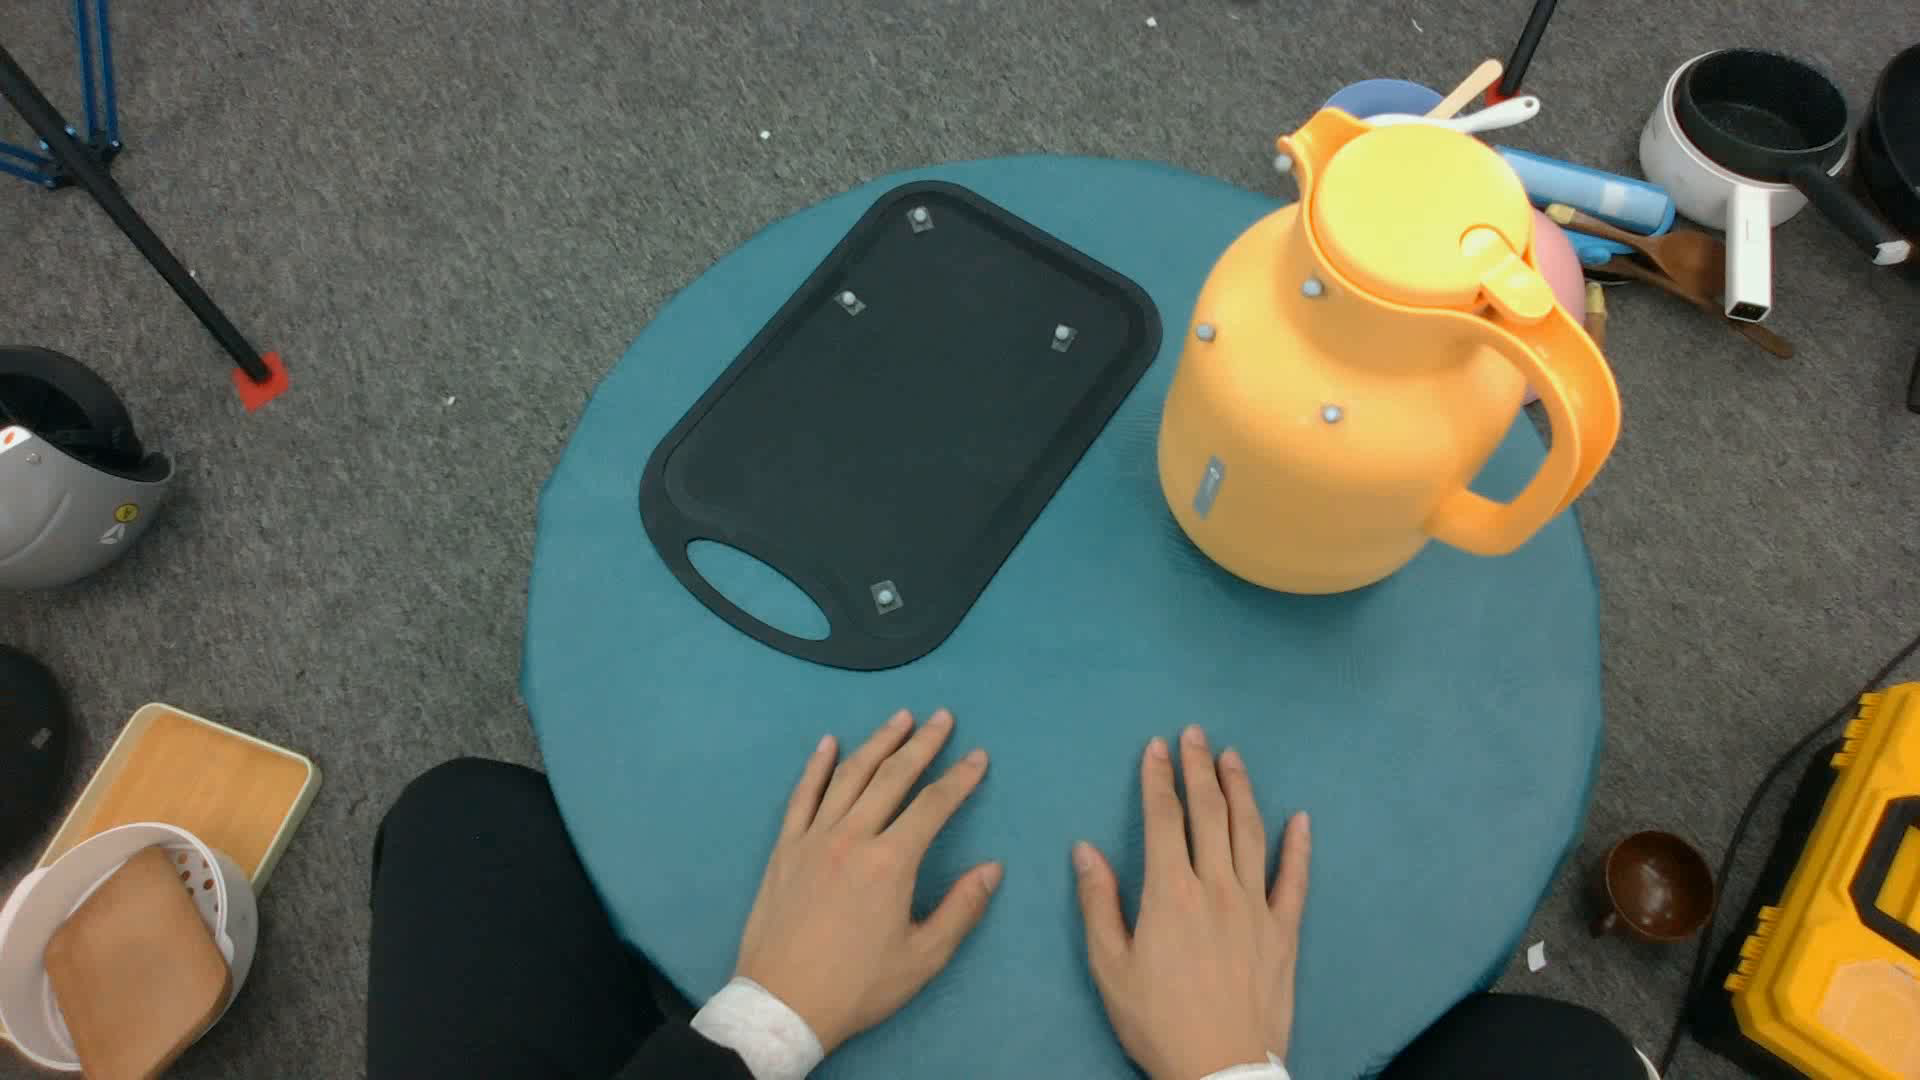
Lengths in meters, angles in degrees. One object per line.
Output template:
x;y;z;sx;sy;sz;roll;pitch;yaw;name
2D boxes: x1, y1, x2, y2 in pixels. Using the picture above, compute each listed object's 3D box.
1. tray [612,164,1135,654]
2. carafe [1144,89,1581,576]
-0.050;-0.085;0.815;0.211;0.010;0.326;32;68;13;tray
0.193;-0.082;0.680;0.164;0.259;0.202;-34;68;-13;carafe
